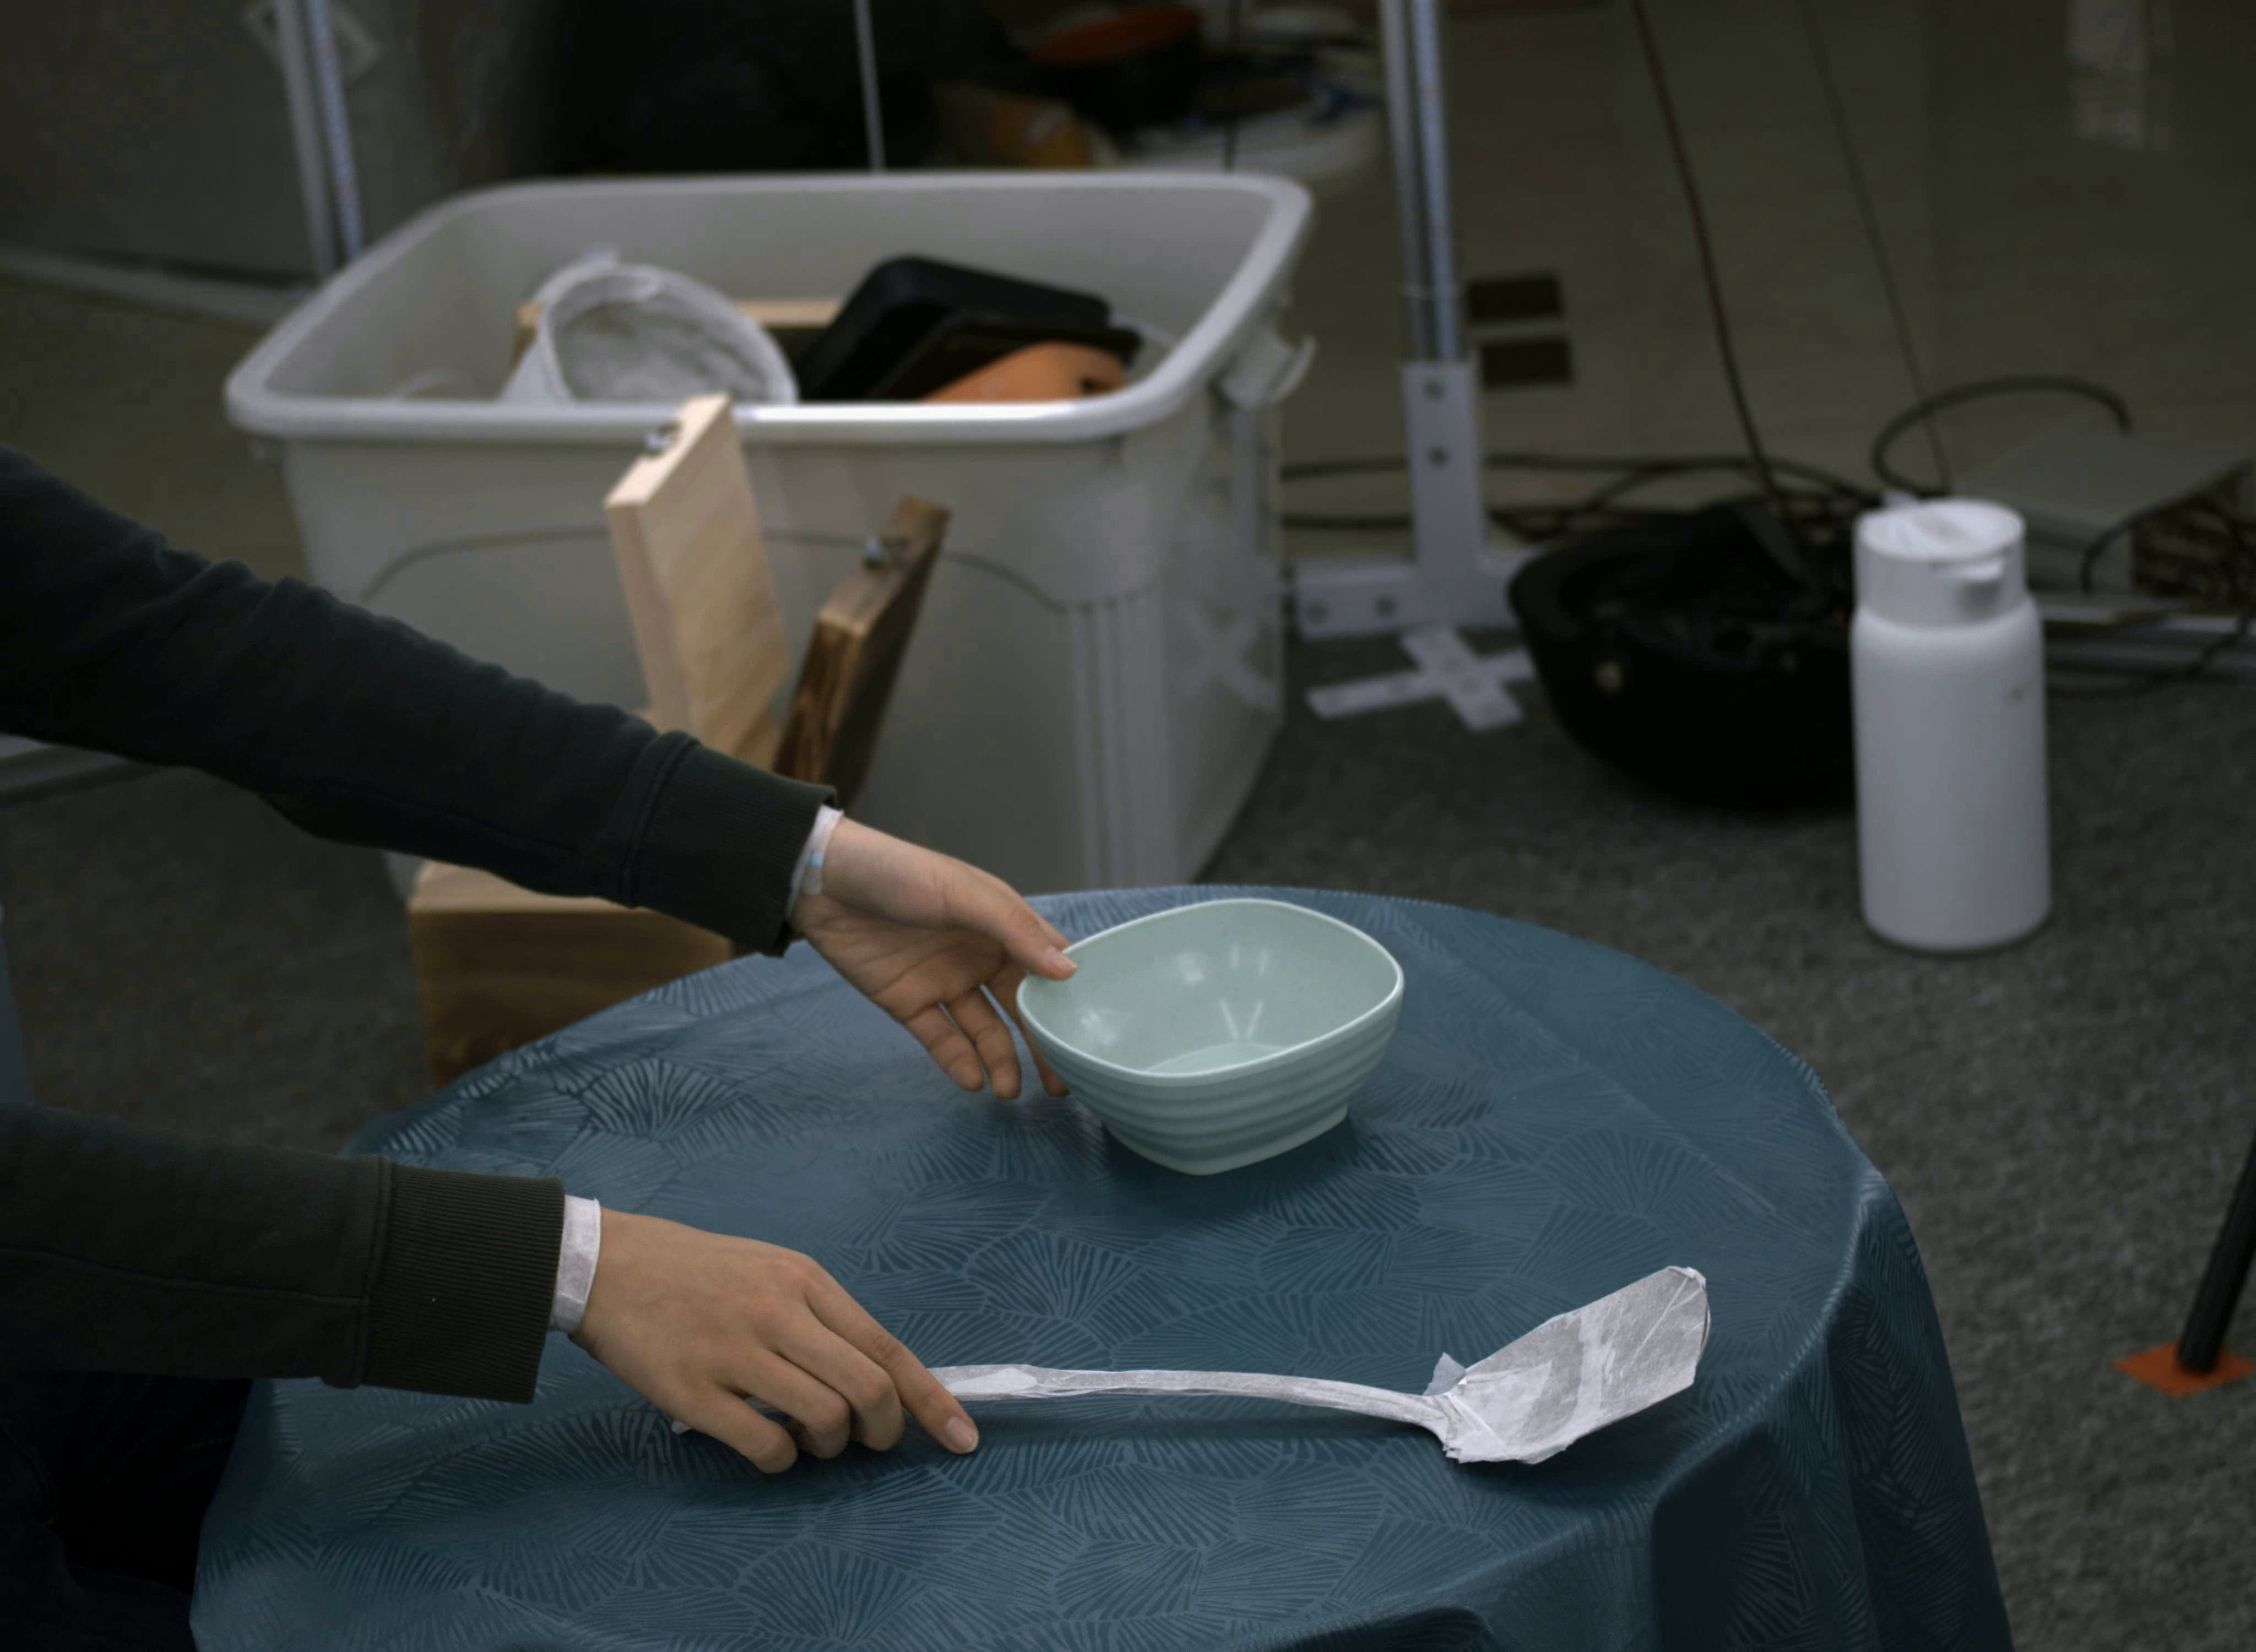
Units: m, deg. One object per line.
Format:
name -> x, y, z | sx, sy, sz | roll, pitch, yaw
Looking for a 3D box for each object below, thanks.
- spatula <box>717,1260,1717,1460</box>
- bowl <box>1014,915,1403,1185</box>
spatula -> 0.025, 0.191, 1.990 | 0.364, 0.045, 0.097 | 0, 27, 12
bowl -> 0.033, 0.091, 2.187 | 0.151, 0.059, 0.149 | -4, 23, 2
